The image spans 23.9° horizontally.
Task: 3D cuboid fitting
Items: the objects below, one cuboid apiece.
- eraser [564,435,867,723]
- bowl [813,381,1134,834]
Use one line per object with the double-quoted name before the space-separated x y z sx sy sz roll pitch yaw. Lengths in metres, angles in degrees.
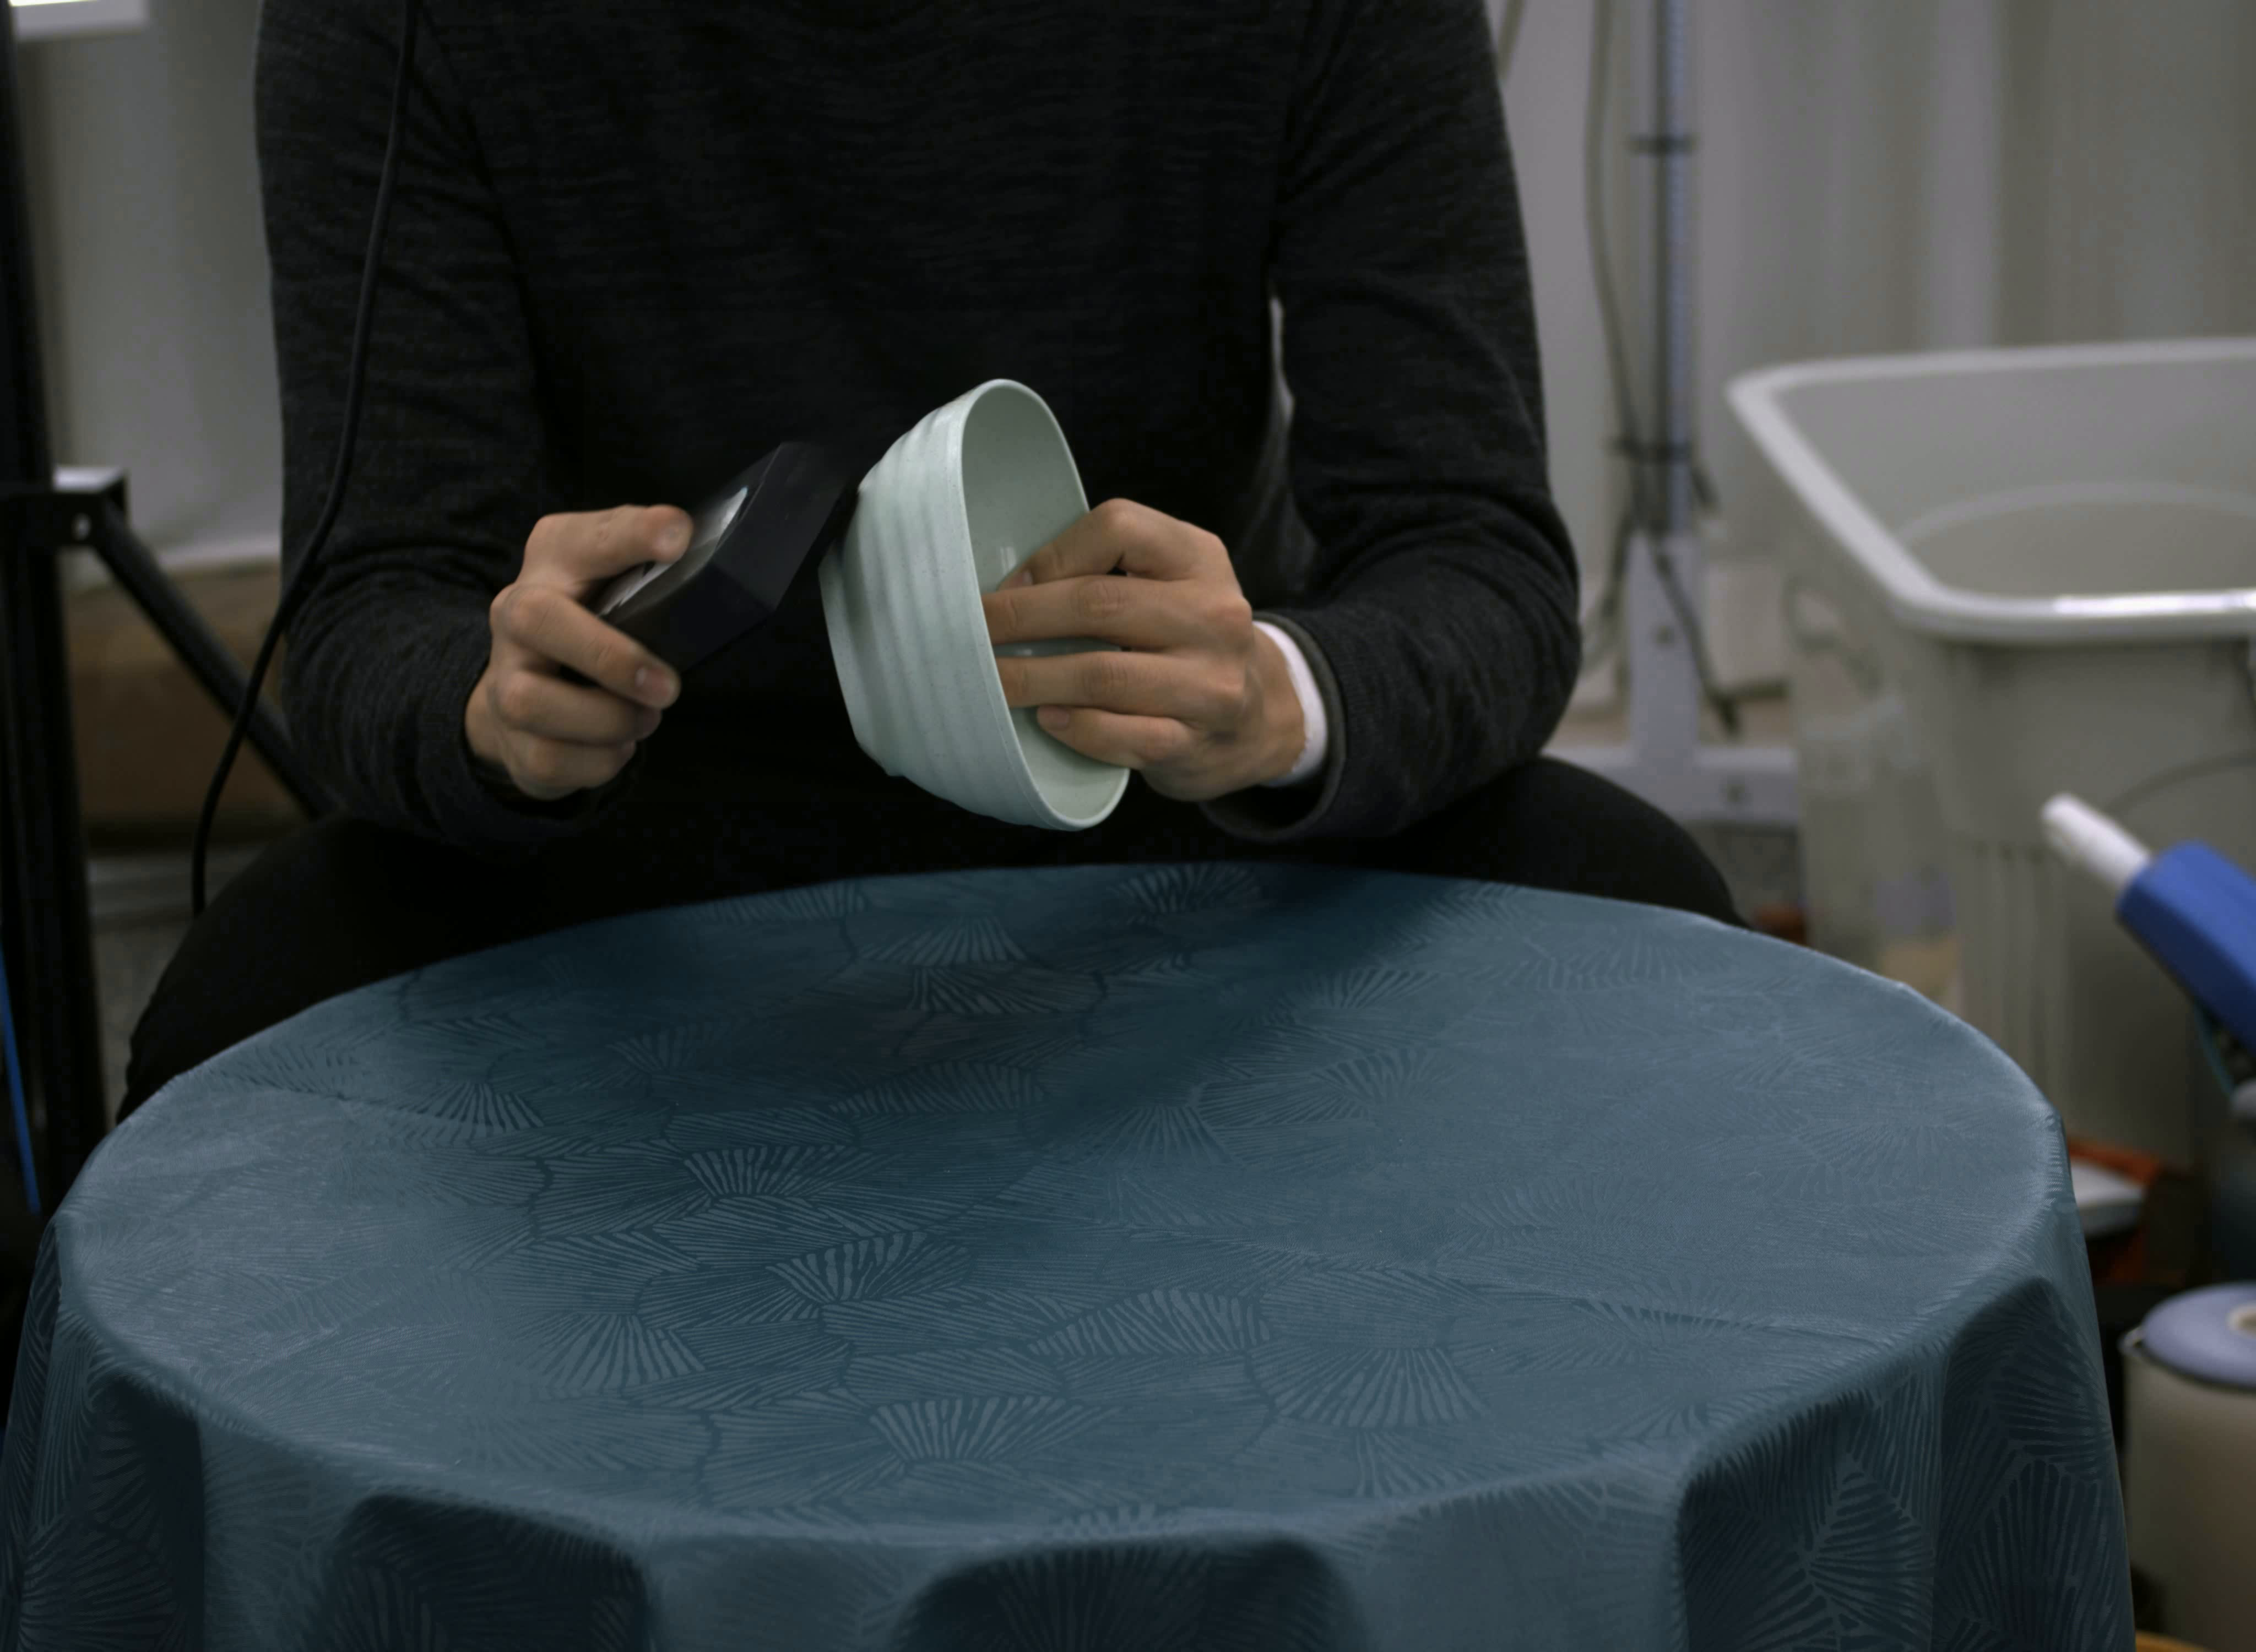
"eraser" -0.126 -0.075 1.623 0.127 0.030 0.053 -30 25 56
"bowl" -0.051 -0.062 1.628 0.059 0.151 0.150 -12 12 18
